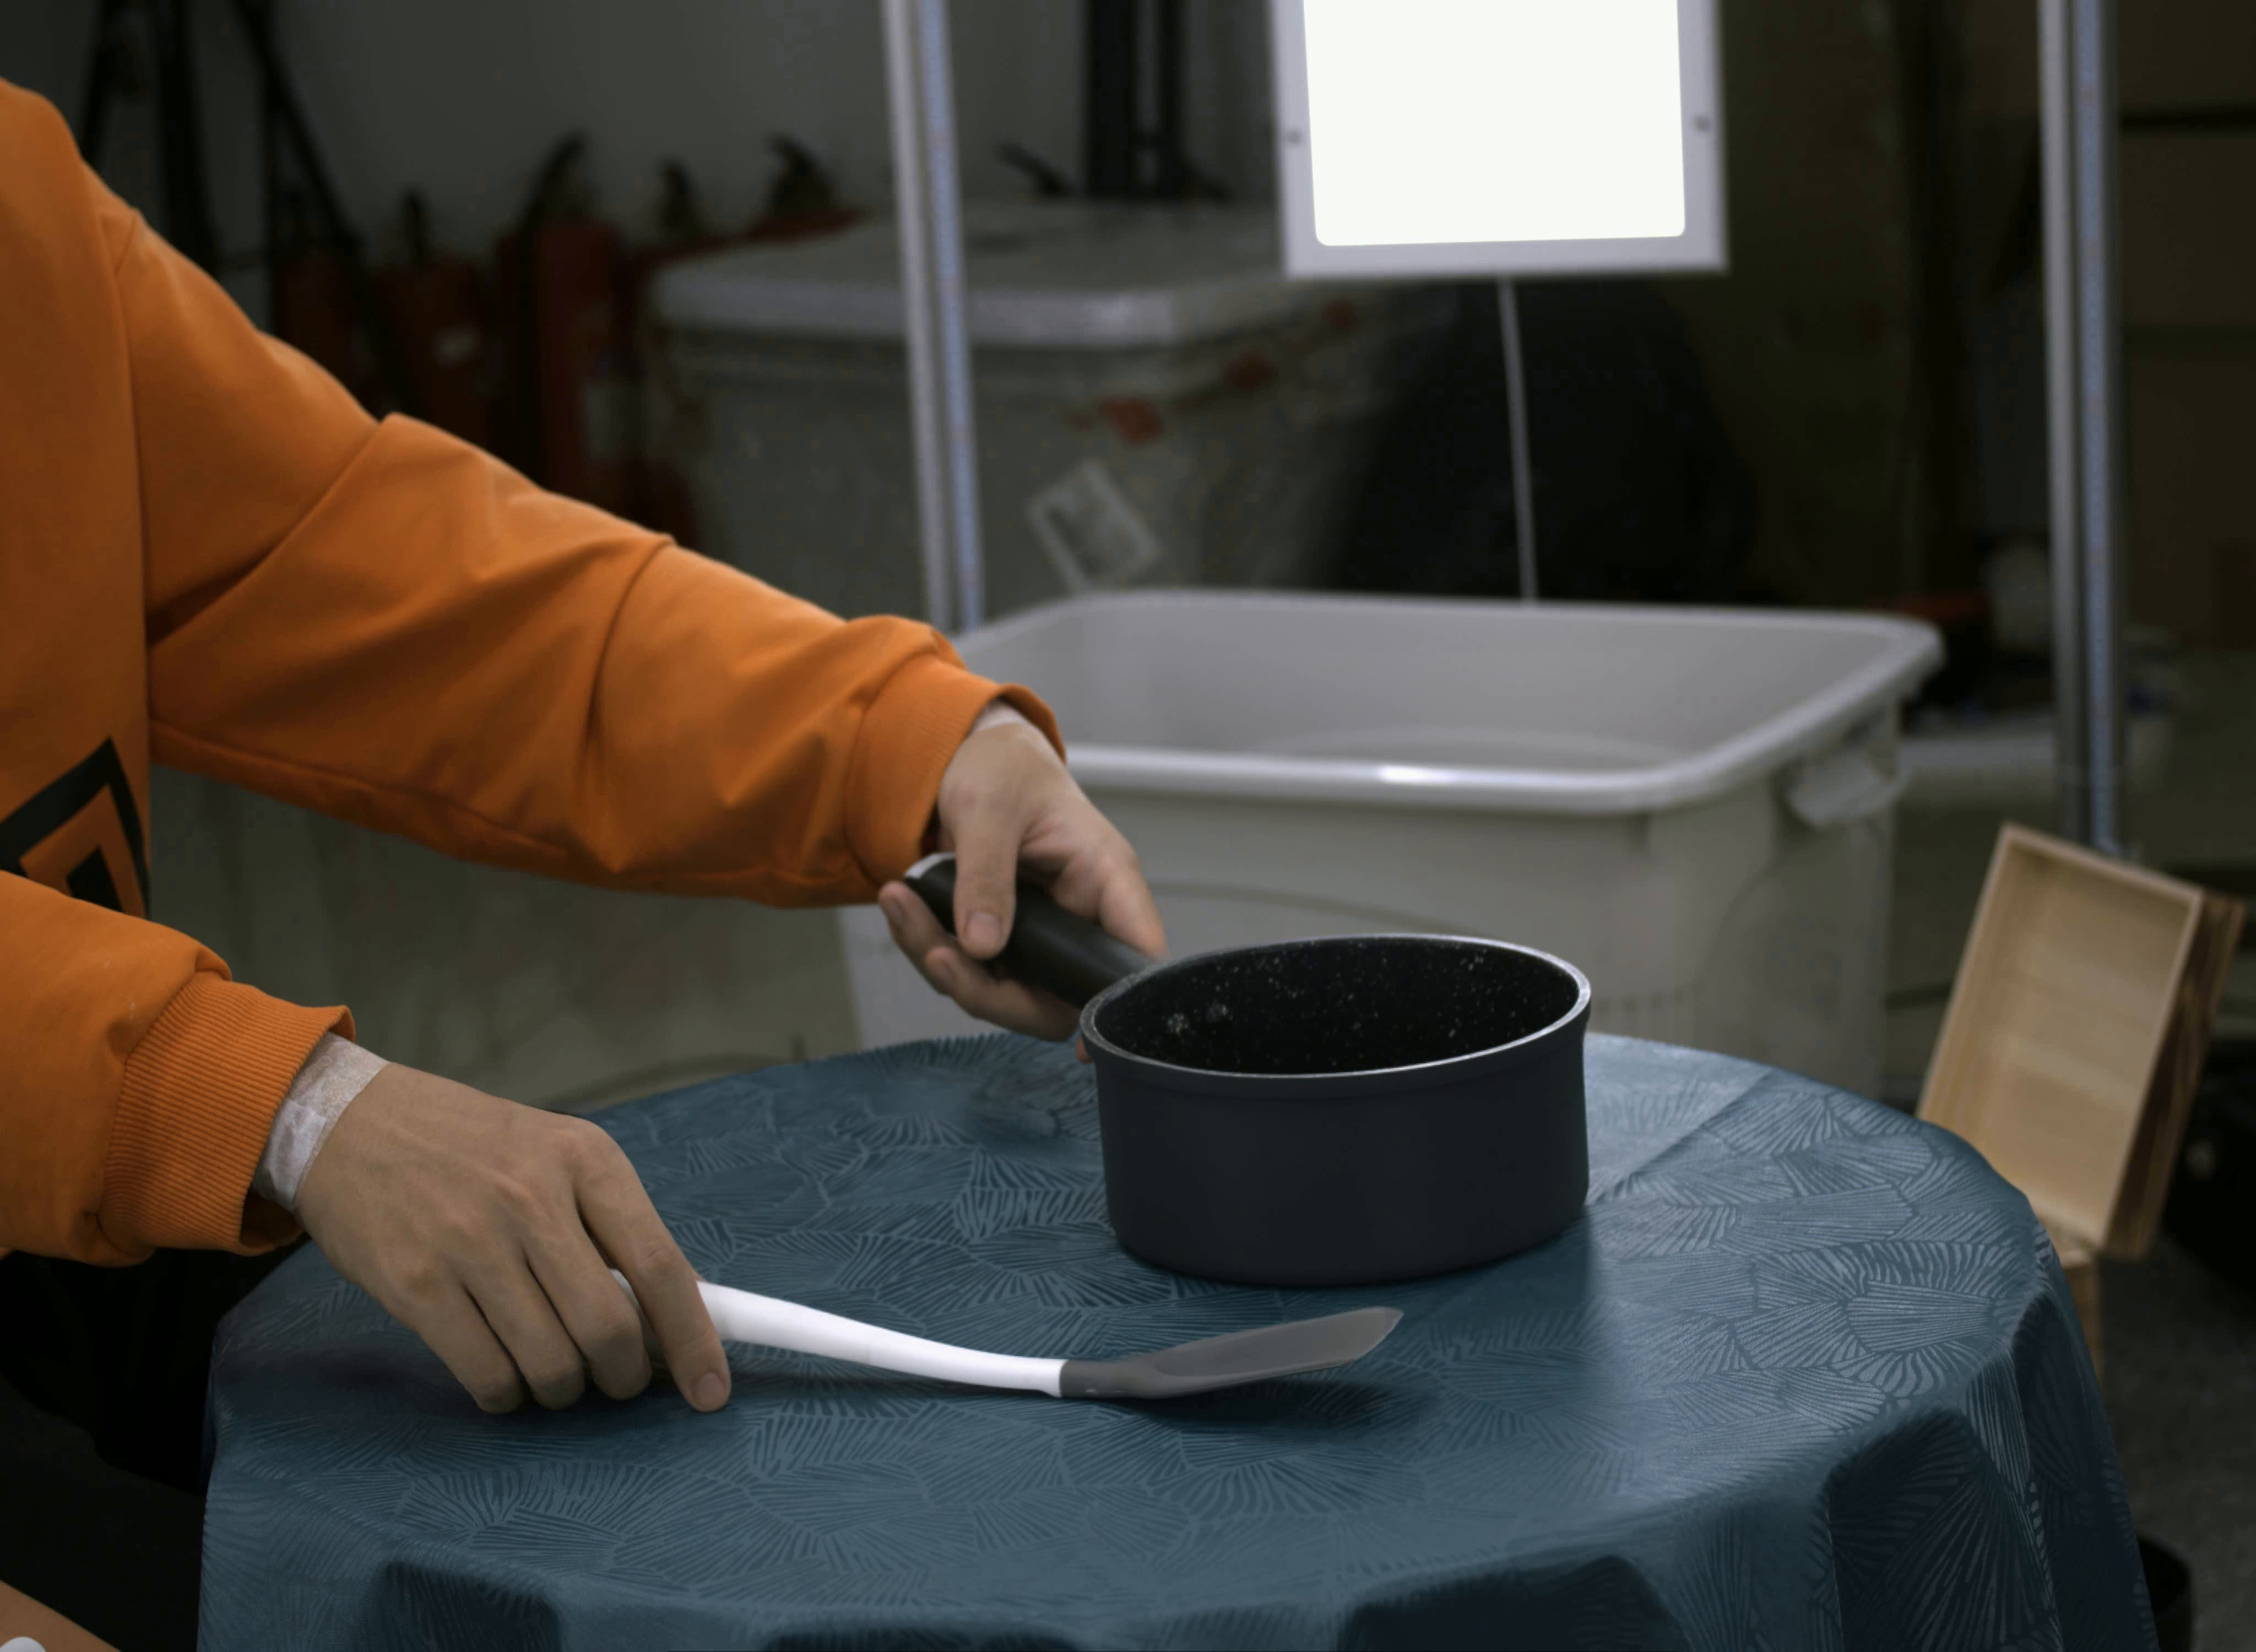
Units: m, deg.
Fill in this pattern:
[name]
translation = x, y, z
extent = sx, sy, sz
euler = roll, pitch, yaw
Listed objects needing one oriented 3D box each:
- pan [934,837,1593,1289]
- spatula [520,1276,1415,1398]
[pan]
translation = 0.029, 0.077, 1.908
extent = 0.168, 0.087, 0.335
euler = -12, 17, -30
[spatula]
translation = -0.052, 0.160, 1.713
extent = 0.291, 0.032, 0.057
euler = 0, 10, 21
